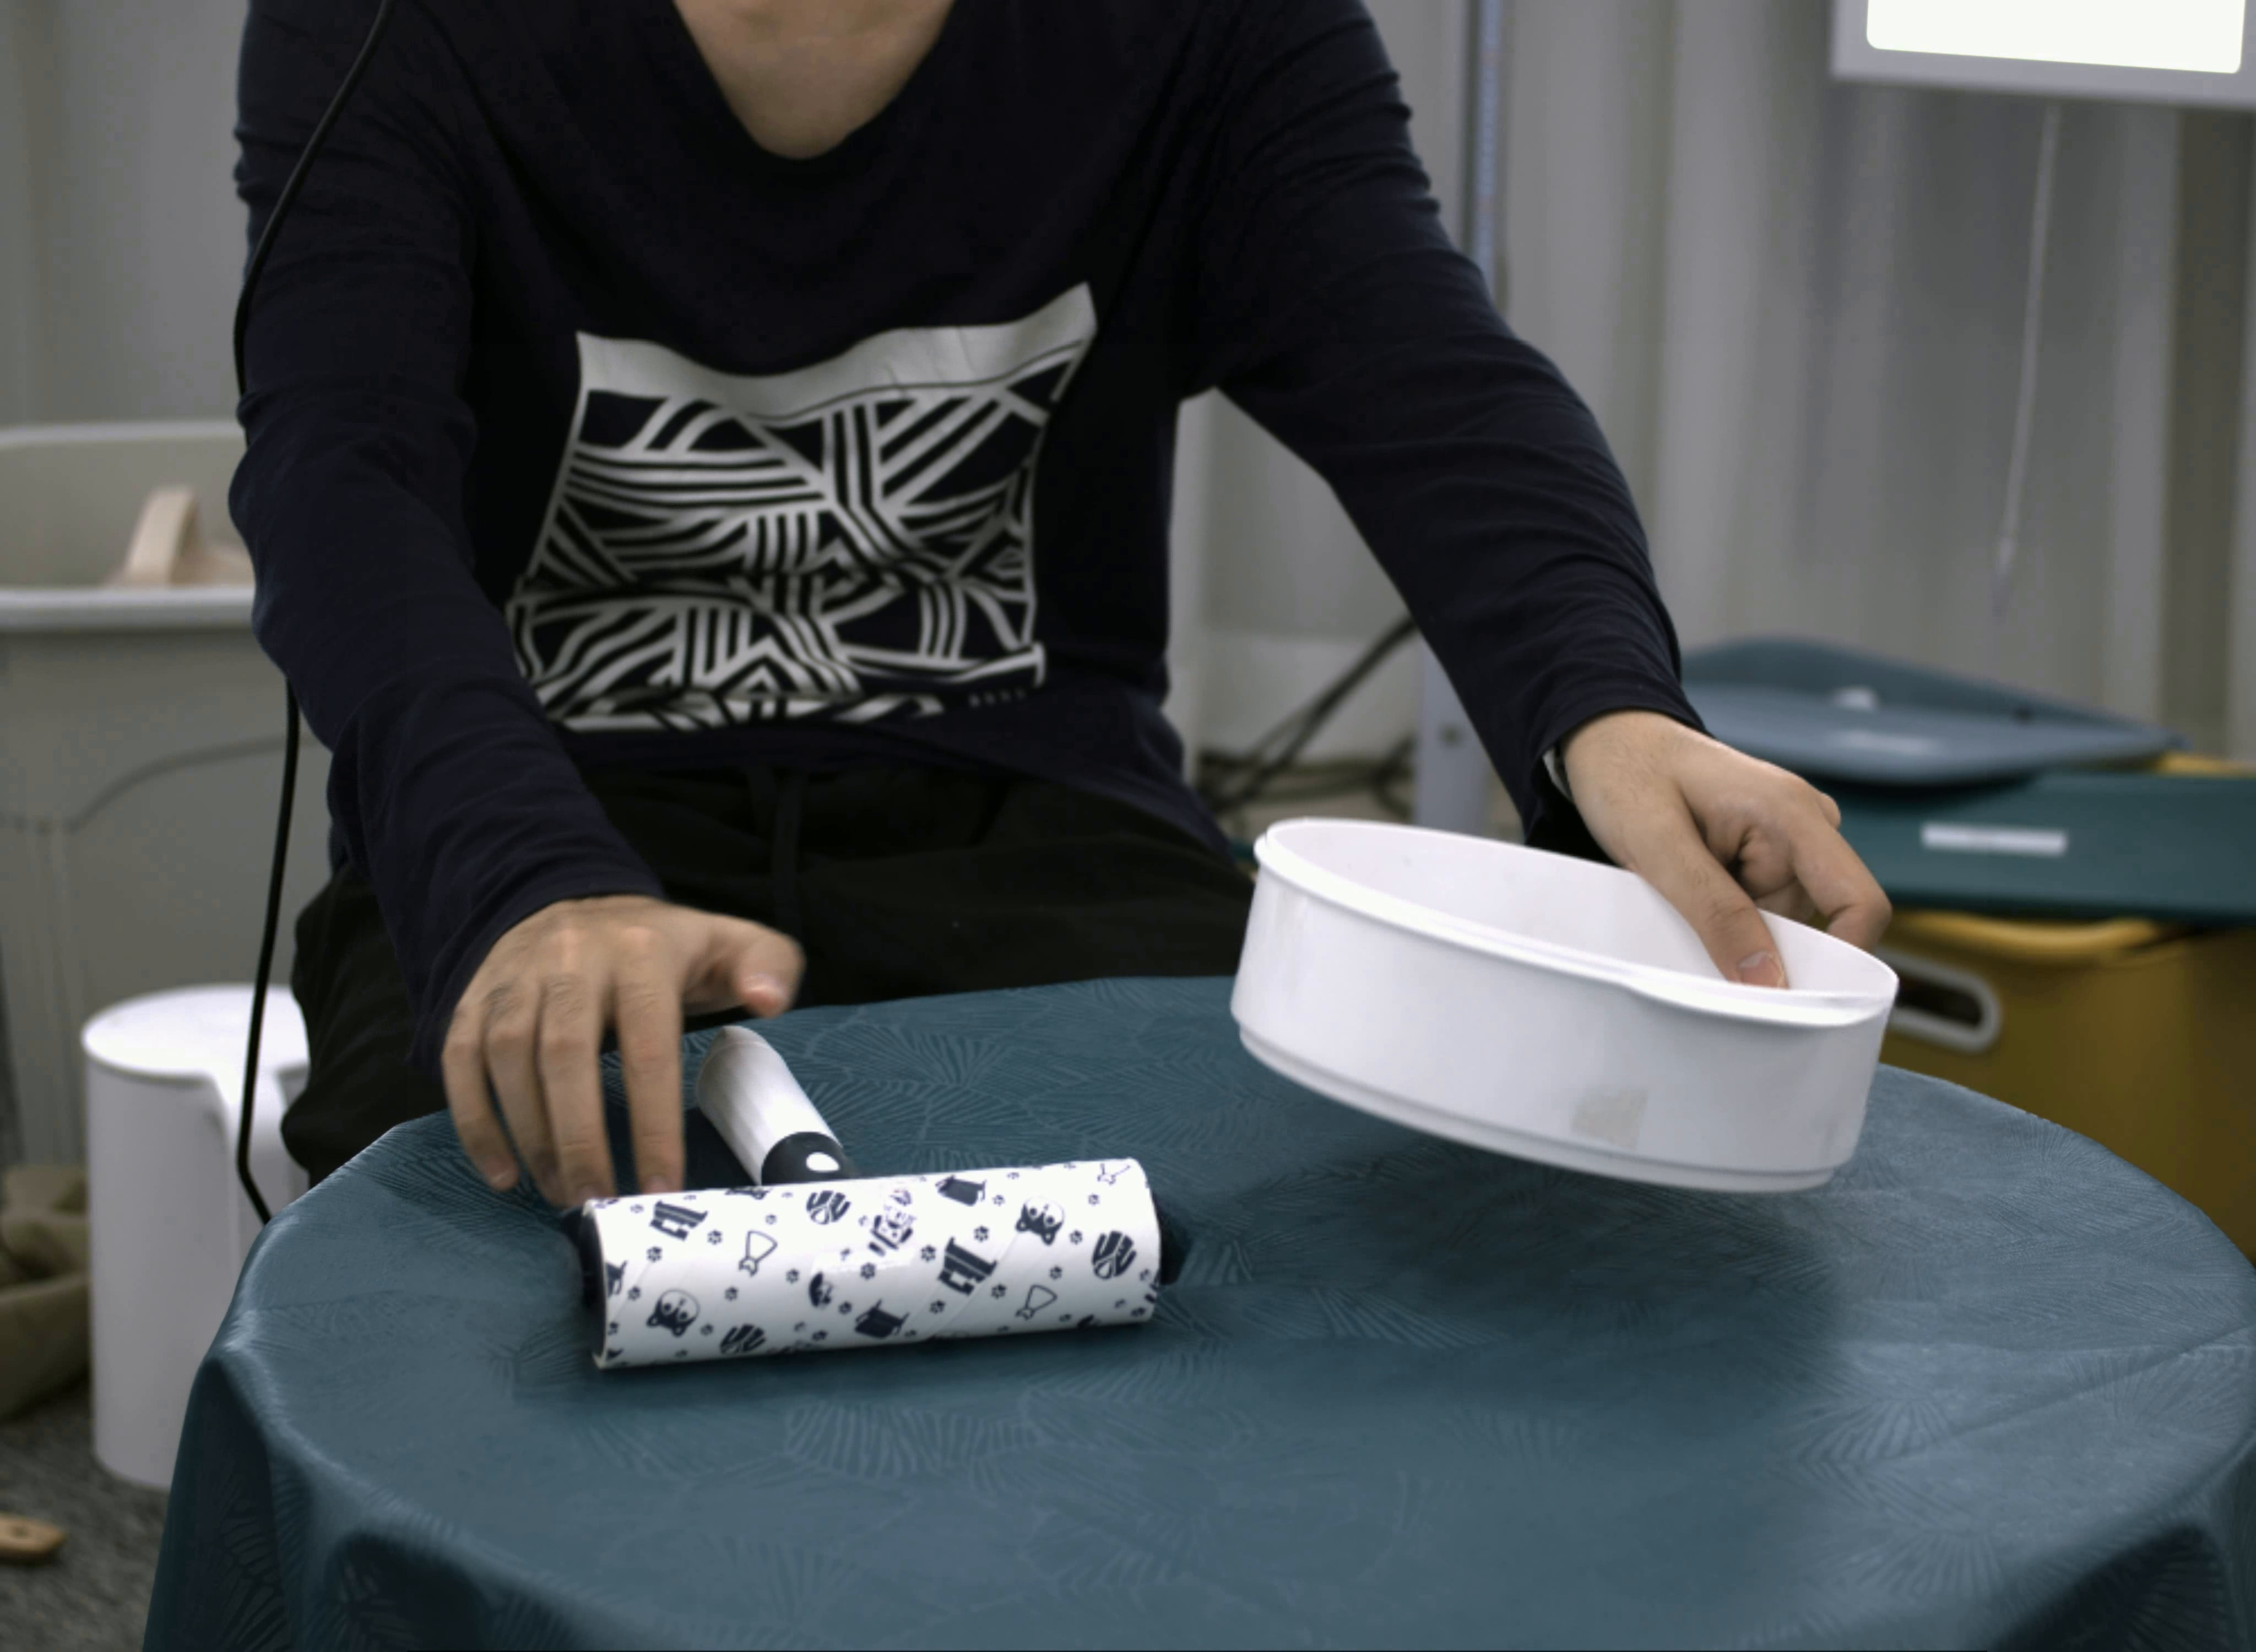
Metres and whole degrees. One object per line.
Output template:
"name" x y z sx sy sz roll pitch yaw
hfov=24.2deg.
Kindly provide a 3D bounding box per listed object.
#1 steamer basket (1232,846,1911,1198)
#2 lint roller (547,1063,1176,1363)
"steamer basket" 0.131 0.060 1.586 0.203 0.069 0.228 9 6 -26
"lint roller" -0.101 0.102 1.586 0.176 0.051 0.245 -5 13 -15
